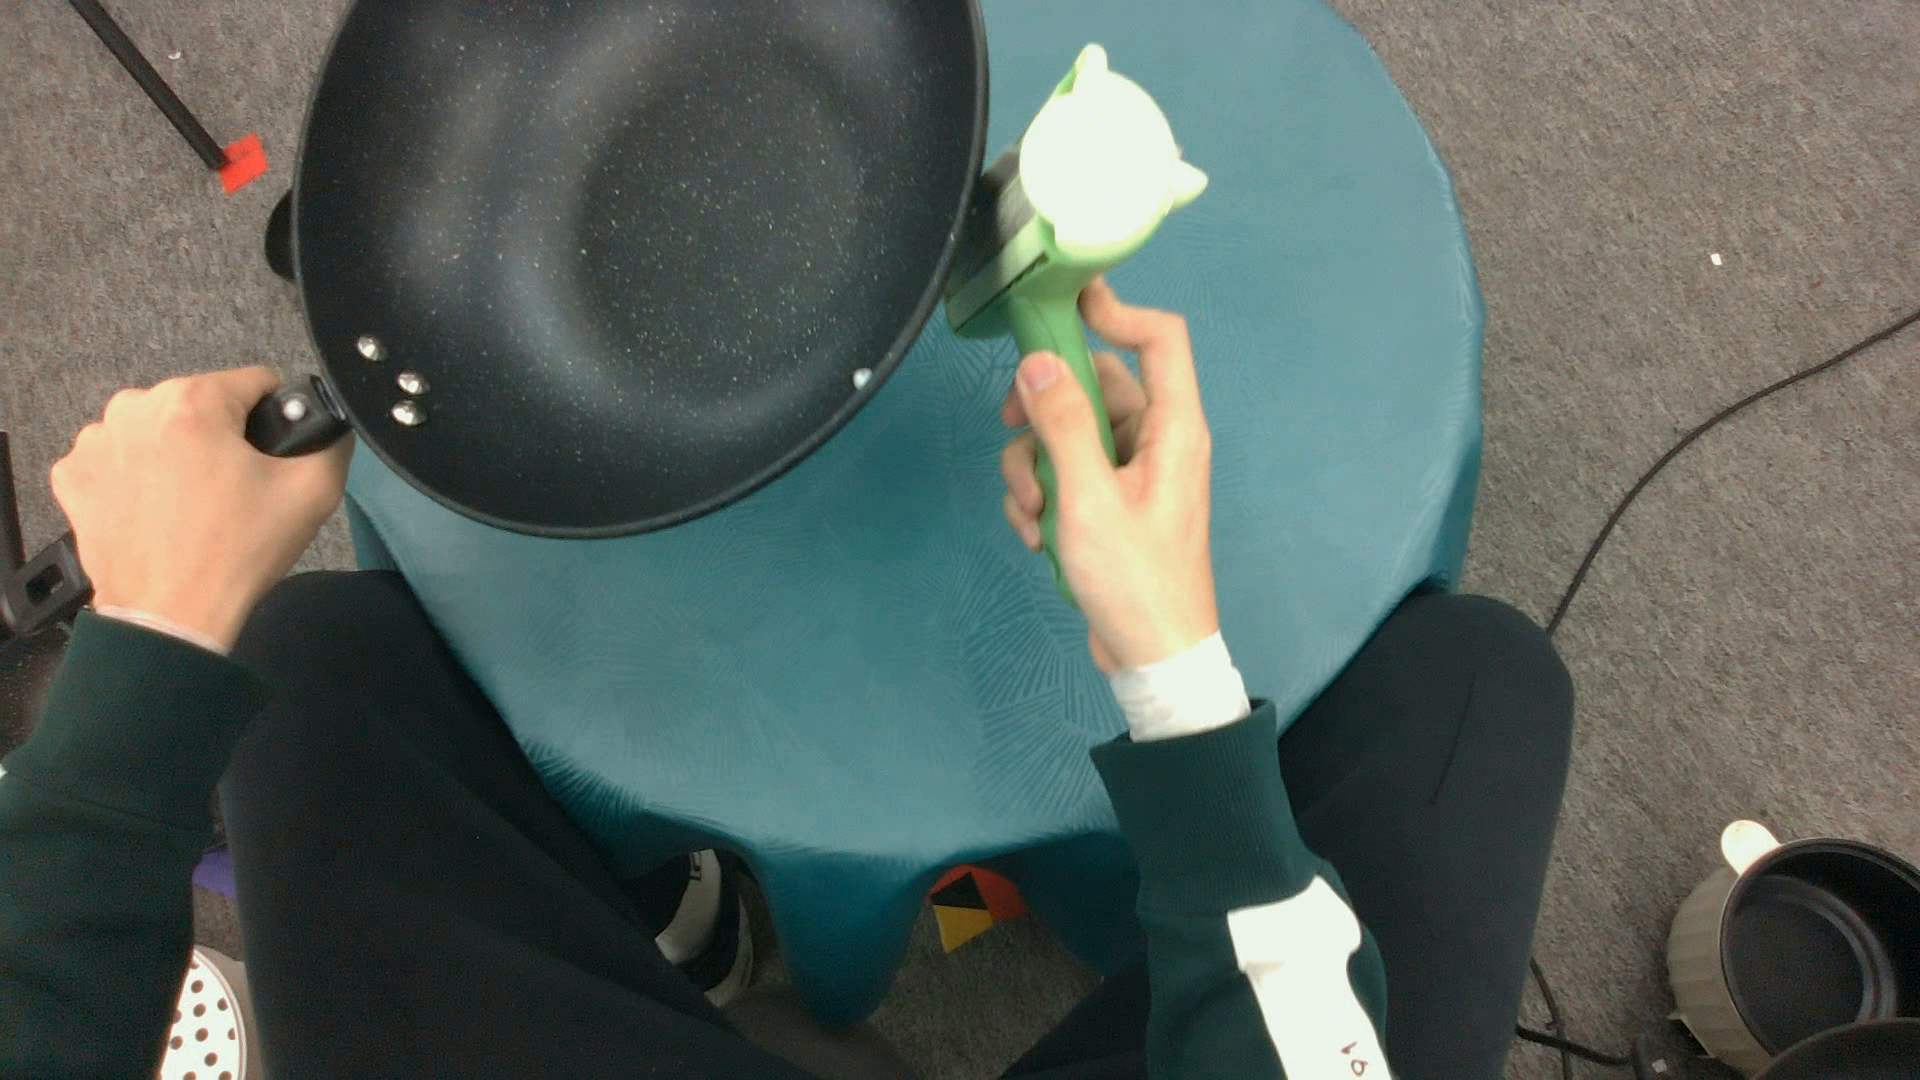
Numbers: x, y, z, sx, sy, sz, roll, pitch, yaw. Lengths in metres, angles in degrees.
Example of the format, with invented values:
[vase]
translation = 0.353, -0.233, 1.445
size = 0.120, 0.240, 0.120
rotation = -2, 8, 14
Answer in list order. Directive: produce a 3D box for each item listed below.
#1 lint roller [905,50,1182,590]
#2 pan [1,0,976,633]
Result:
[lint roller]
translation = 0.046, -0.077, 0.545
size = 0.082, 0.198, 0.183
rotation = -23, 96, -11
[pan]
translation = -0.195, -0.106, 0.576
size = 0.476, 0.111, 0.310
rotation = -38, 72, 10
